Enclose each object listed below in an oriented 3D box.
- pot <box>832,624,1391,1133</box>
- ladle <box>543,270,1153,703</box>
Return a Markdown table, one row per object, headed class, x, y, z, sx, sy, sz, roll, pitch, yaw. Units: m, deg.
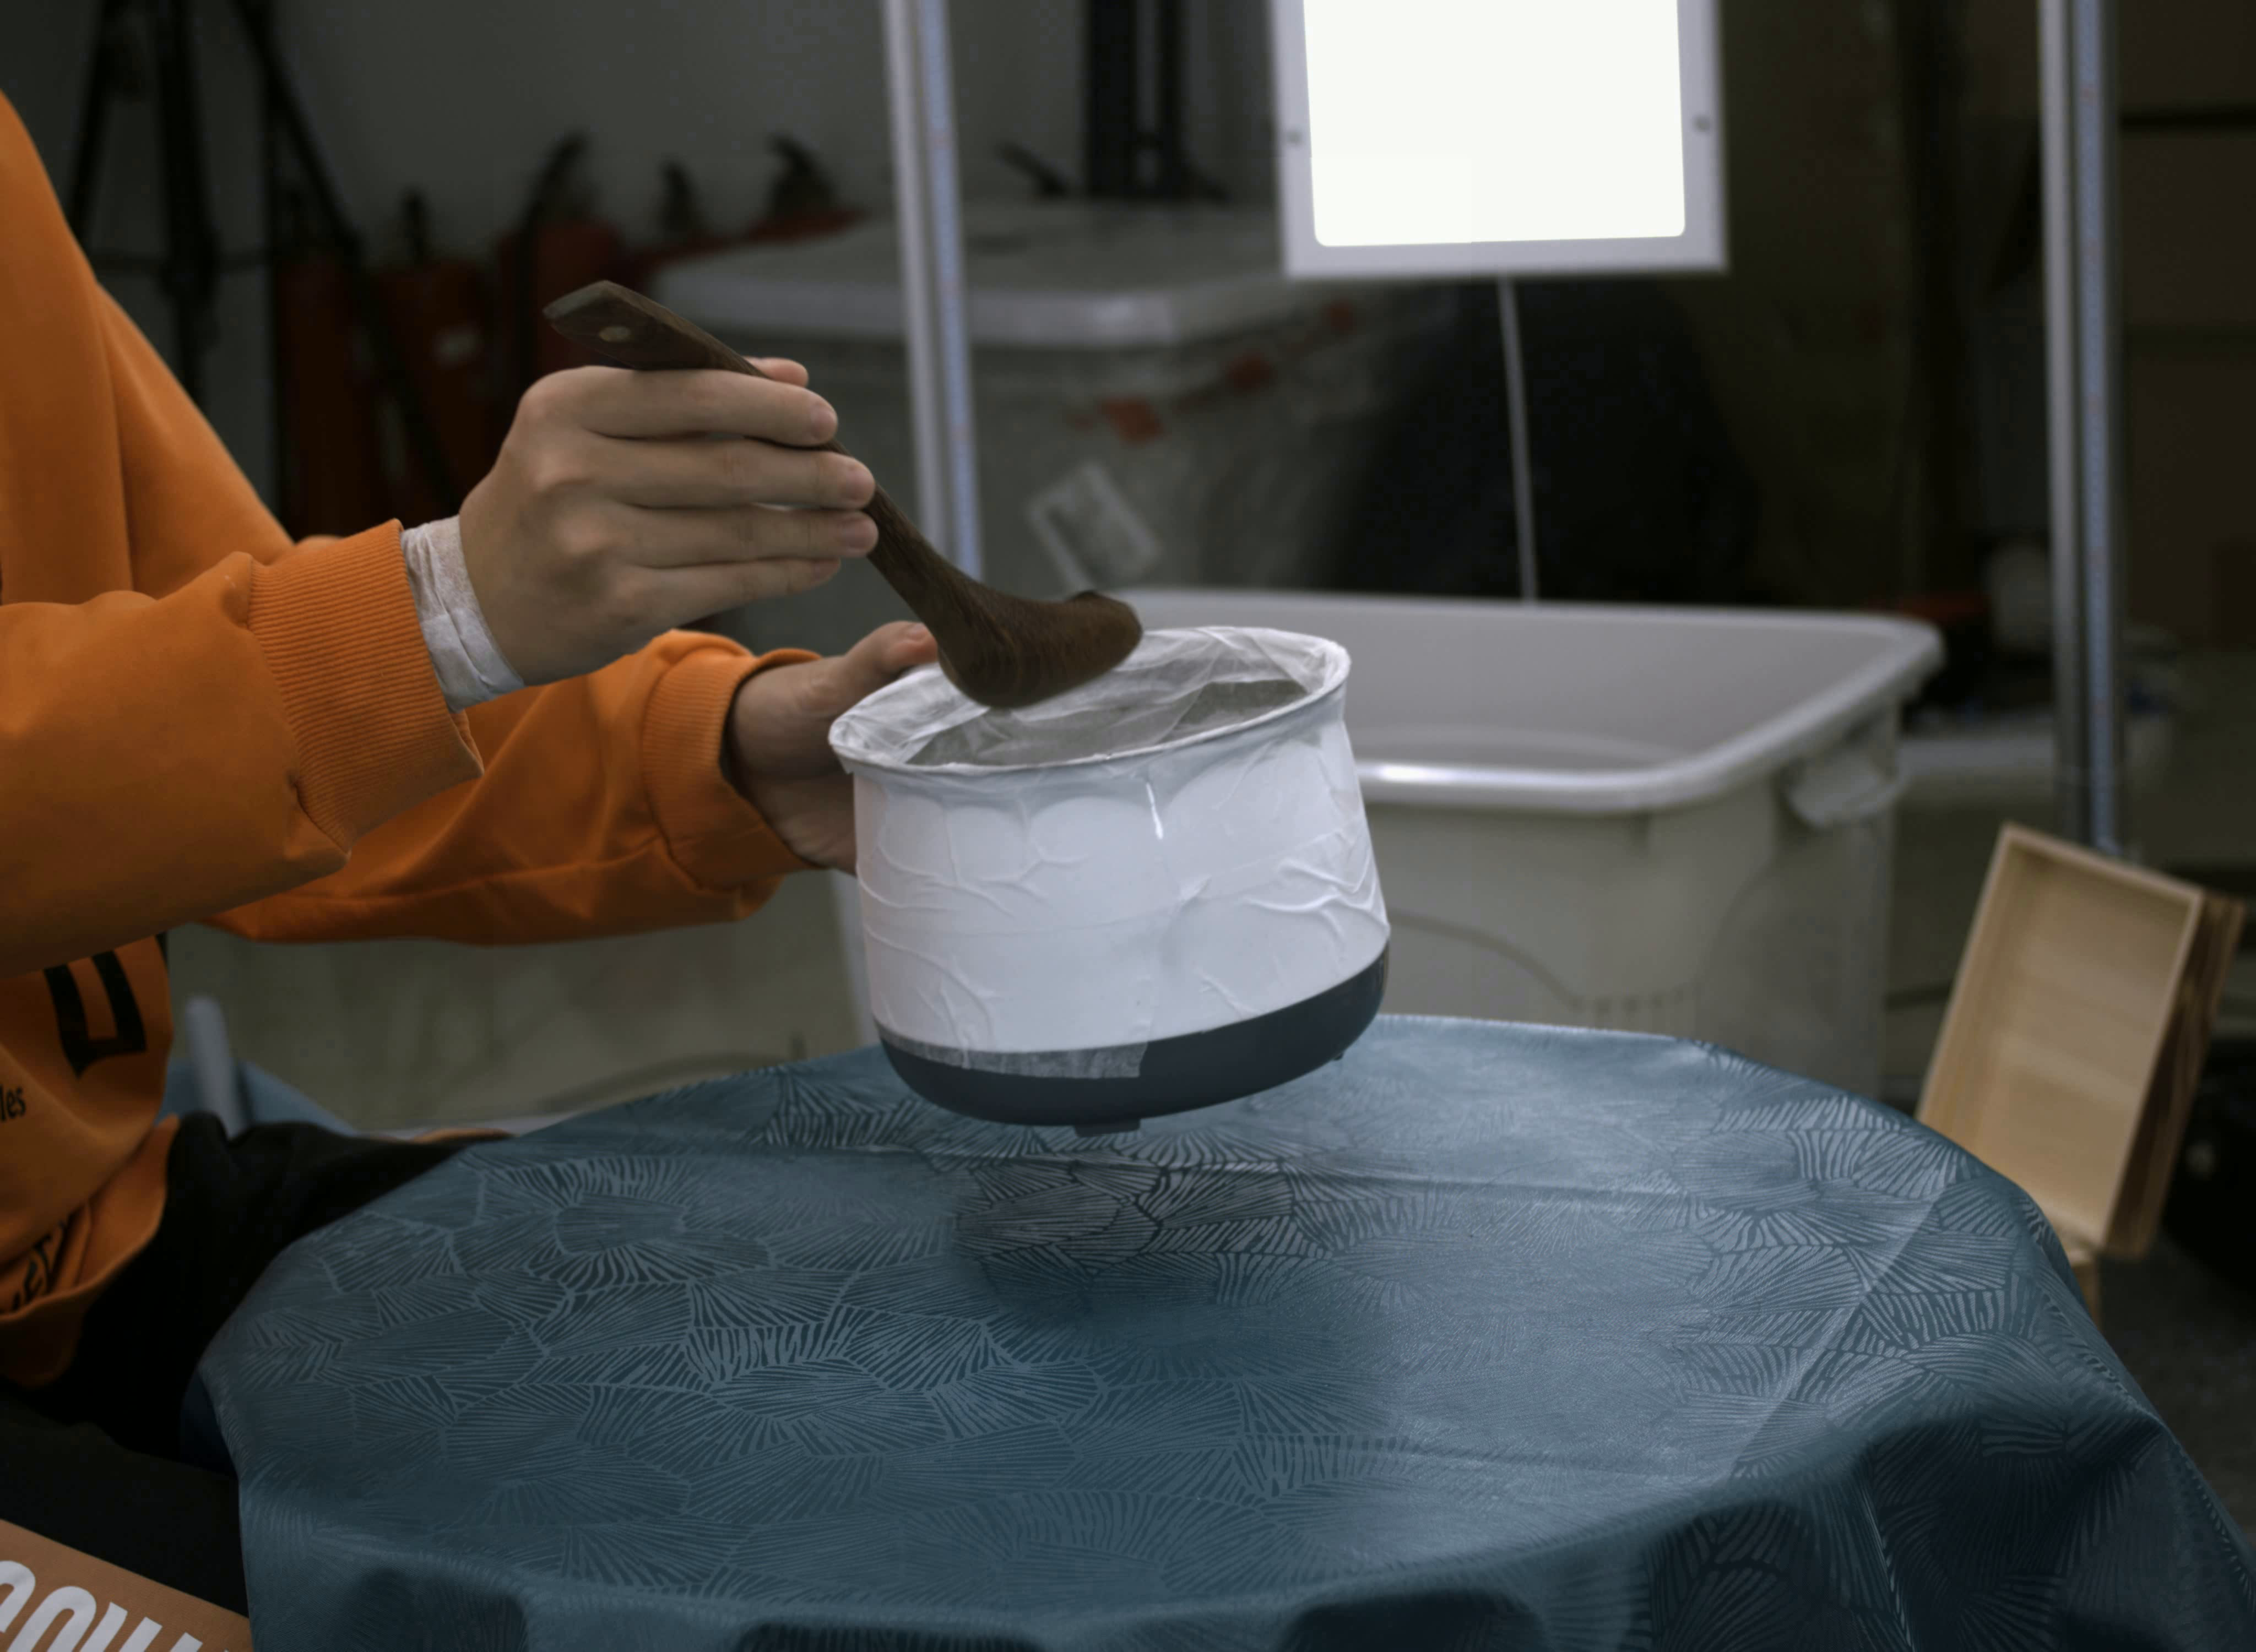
| class | x | y | z | sx | sy | sz | roll | pitch | yaw |
| --- | --- | --- | --- | --- | --- | --- | --- | --- | --- |
| pot | -0.020 | 0.013 | 1.871 | 0.174 | 0.137 | 0.238 | -17 | 16 | -32 |
| ladle | -0.089 | -0.120 | 1.751 | 0.077 | 0.270 | 0.071 | -26 | 45 | 27 |
